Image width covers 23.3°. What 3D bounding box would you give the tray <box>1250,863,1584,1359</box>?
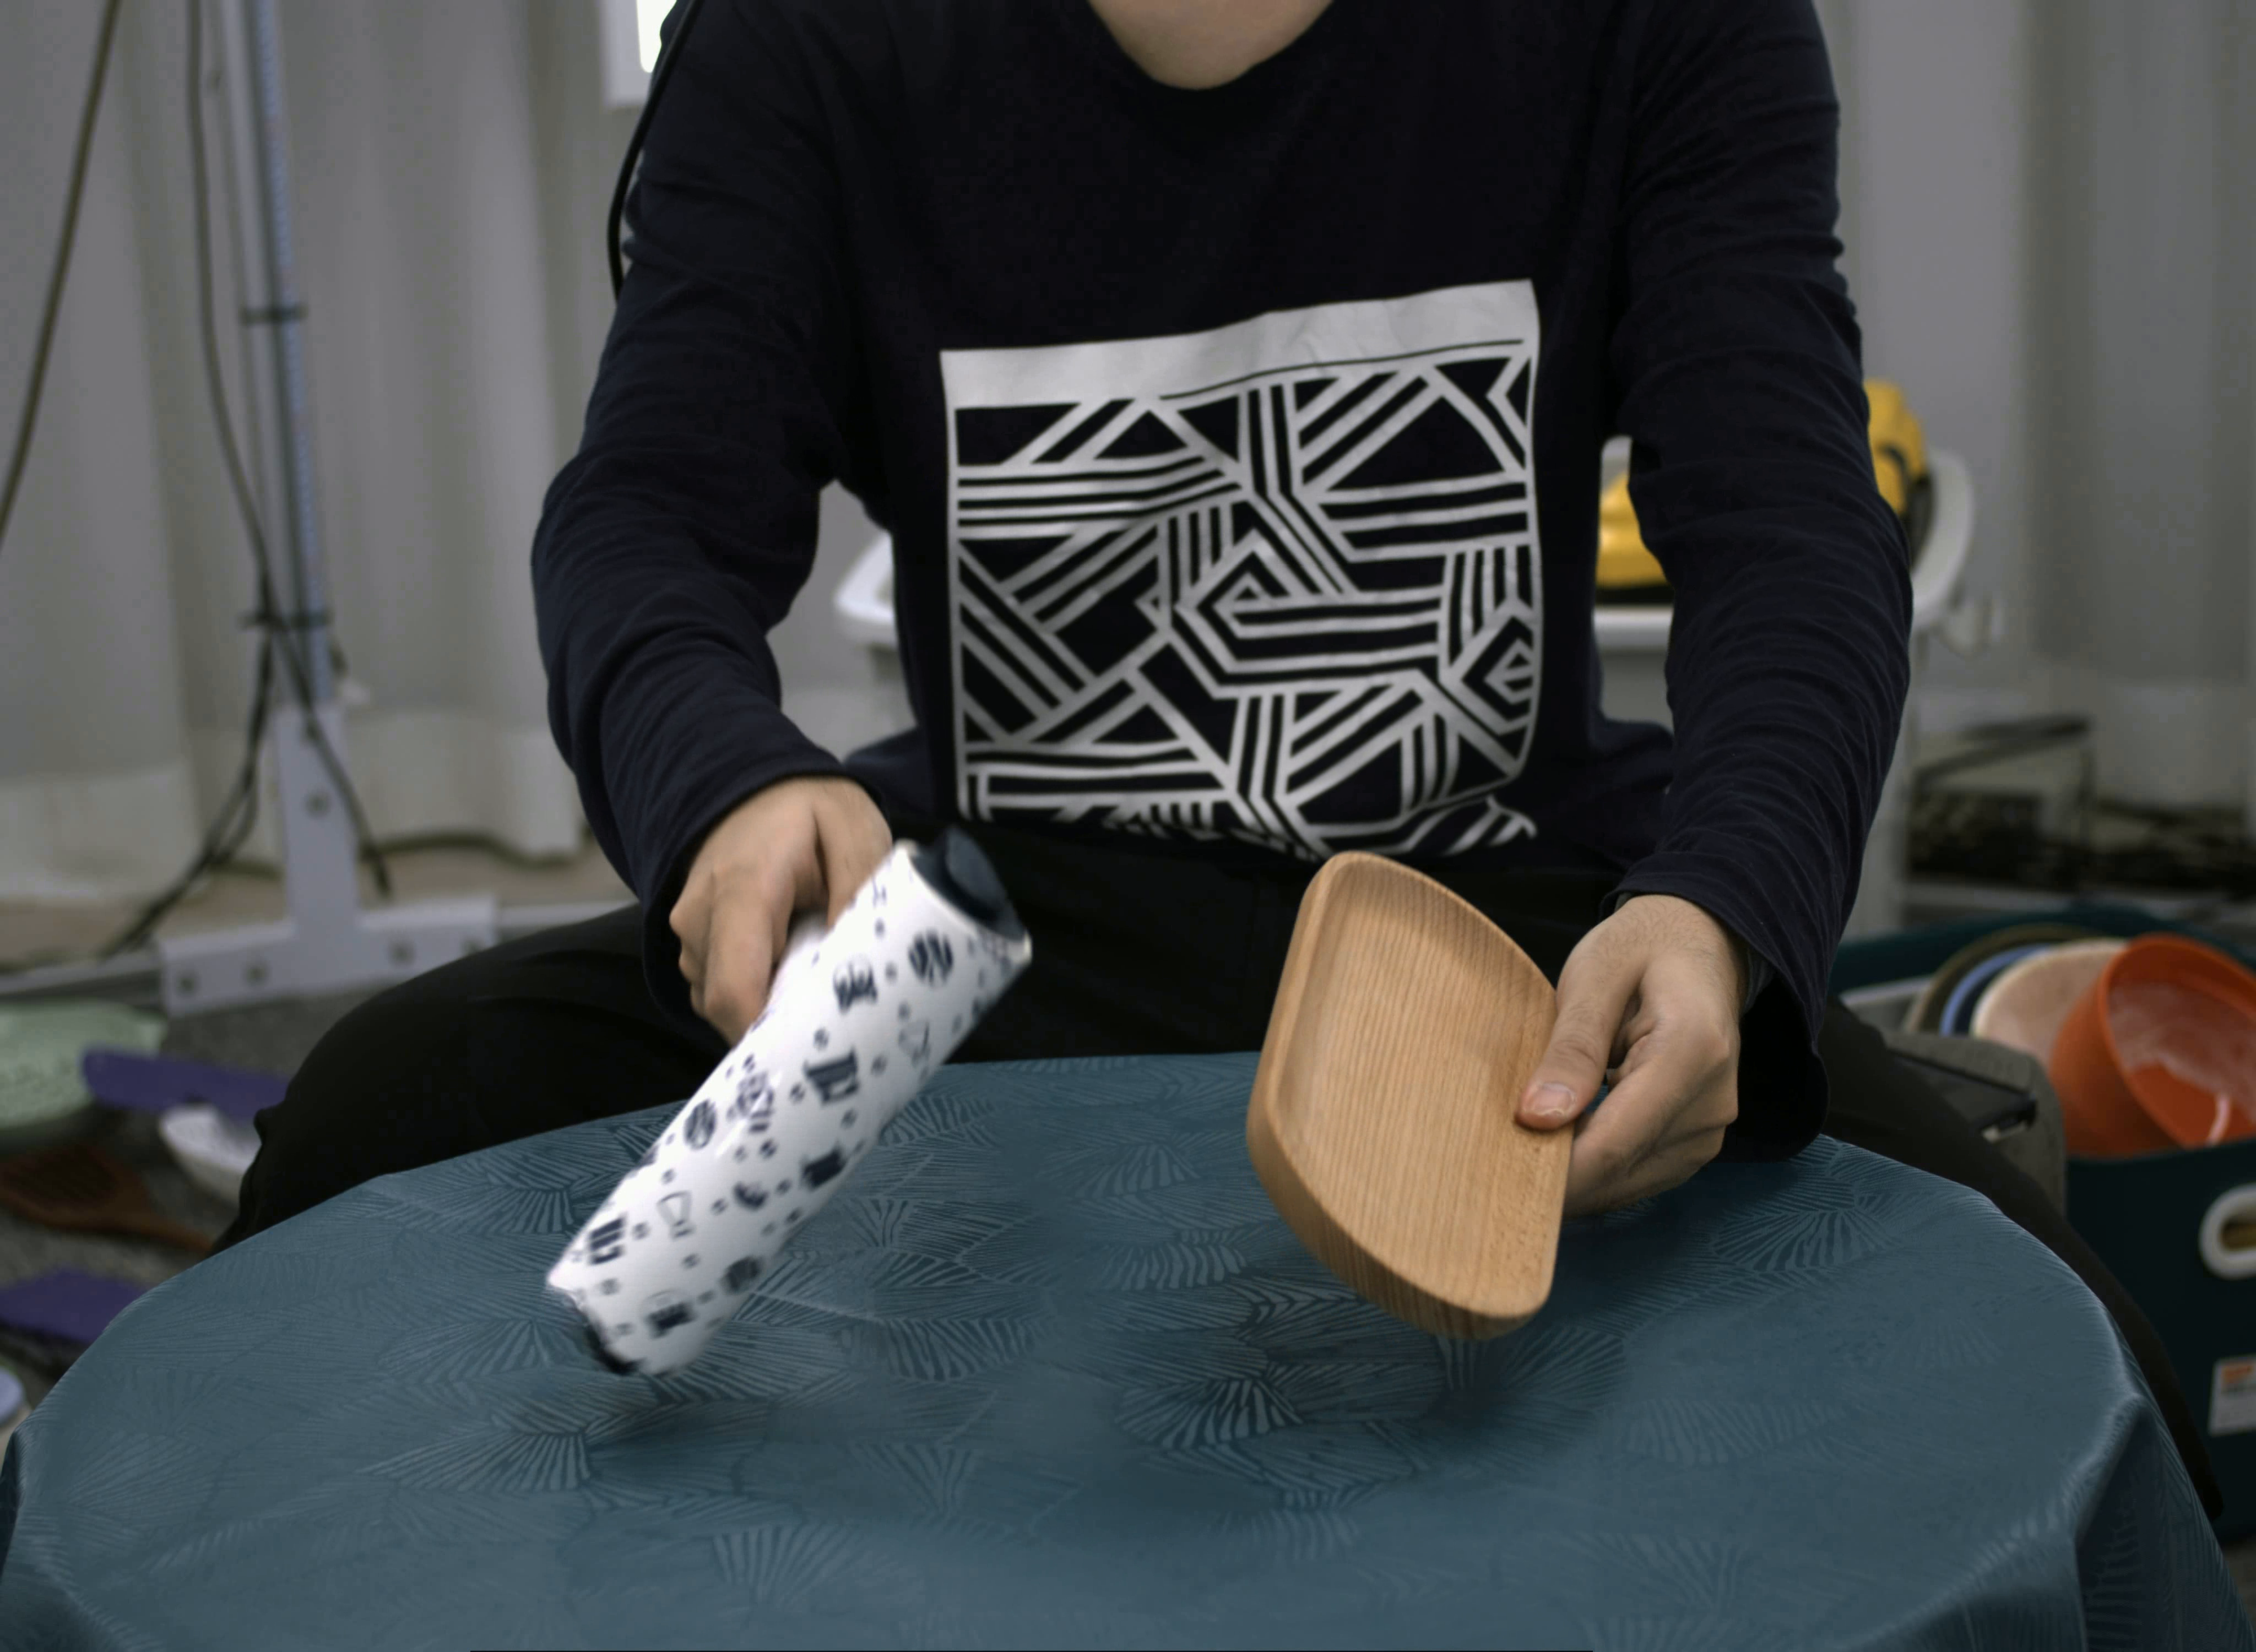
[{"bbox_3d":[0.084,0.080,1.577,0.101,0.020,0.233,33,26,-8],"label":"tray"}]

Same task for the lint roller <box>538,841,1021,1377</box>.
[{"bbox_3d":[-0.096,0.059,1.619,0.050,0.176,0.248,40,10,-8],"label":"lint roller"}]
